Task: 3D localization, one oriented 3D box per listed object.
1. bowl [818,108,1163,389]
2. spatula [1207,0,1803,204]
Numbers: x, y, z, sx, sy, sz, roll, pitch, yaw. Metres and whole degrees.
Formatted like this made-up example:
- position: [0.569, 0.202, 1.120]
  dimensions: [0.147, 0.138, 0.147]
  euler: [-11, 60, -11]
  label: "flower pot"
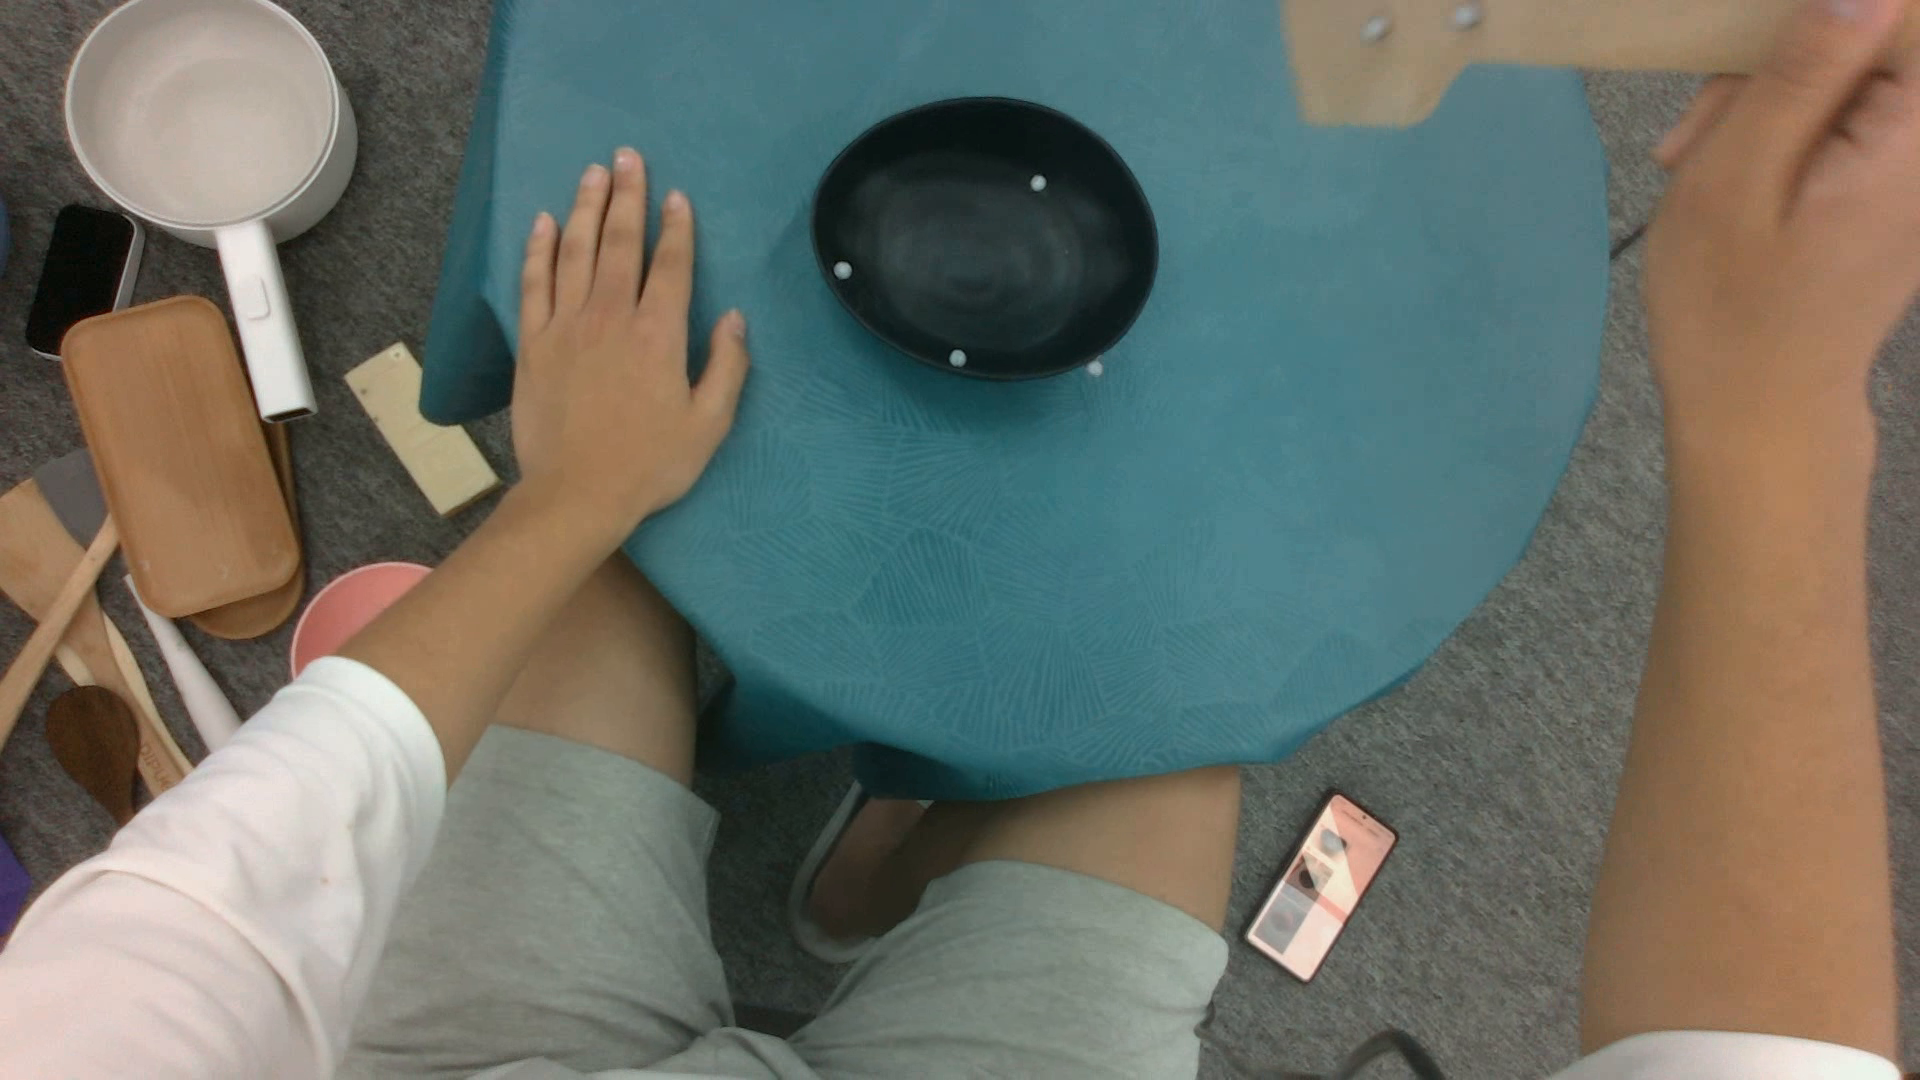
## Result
- position: [0.013, -0.139, 0.693]
  dimensions: [0.170, 0.066, 0.137]
  euler: [5, 85, -7]
  label: "bowl"
- position: [0.153, -0.148, 0.447]
  dimensions: [0.010, 0.293, 0.072]
  euler: [-27, 107, -7]
  label: "spatula"
